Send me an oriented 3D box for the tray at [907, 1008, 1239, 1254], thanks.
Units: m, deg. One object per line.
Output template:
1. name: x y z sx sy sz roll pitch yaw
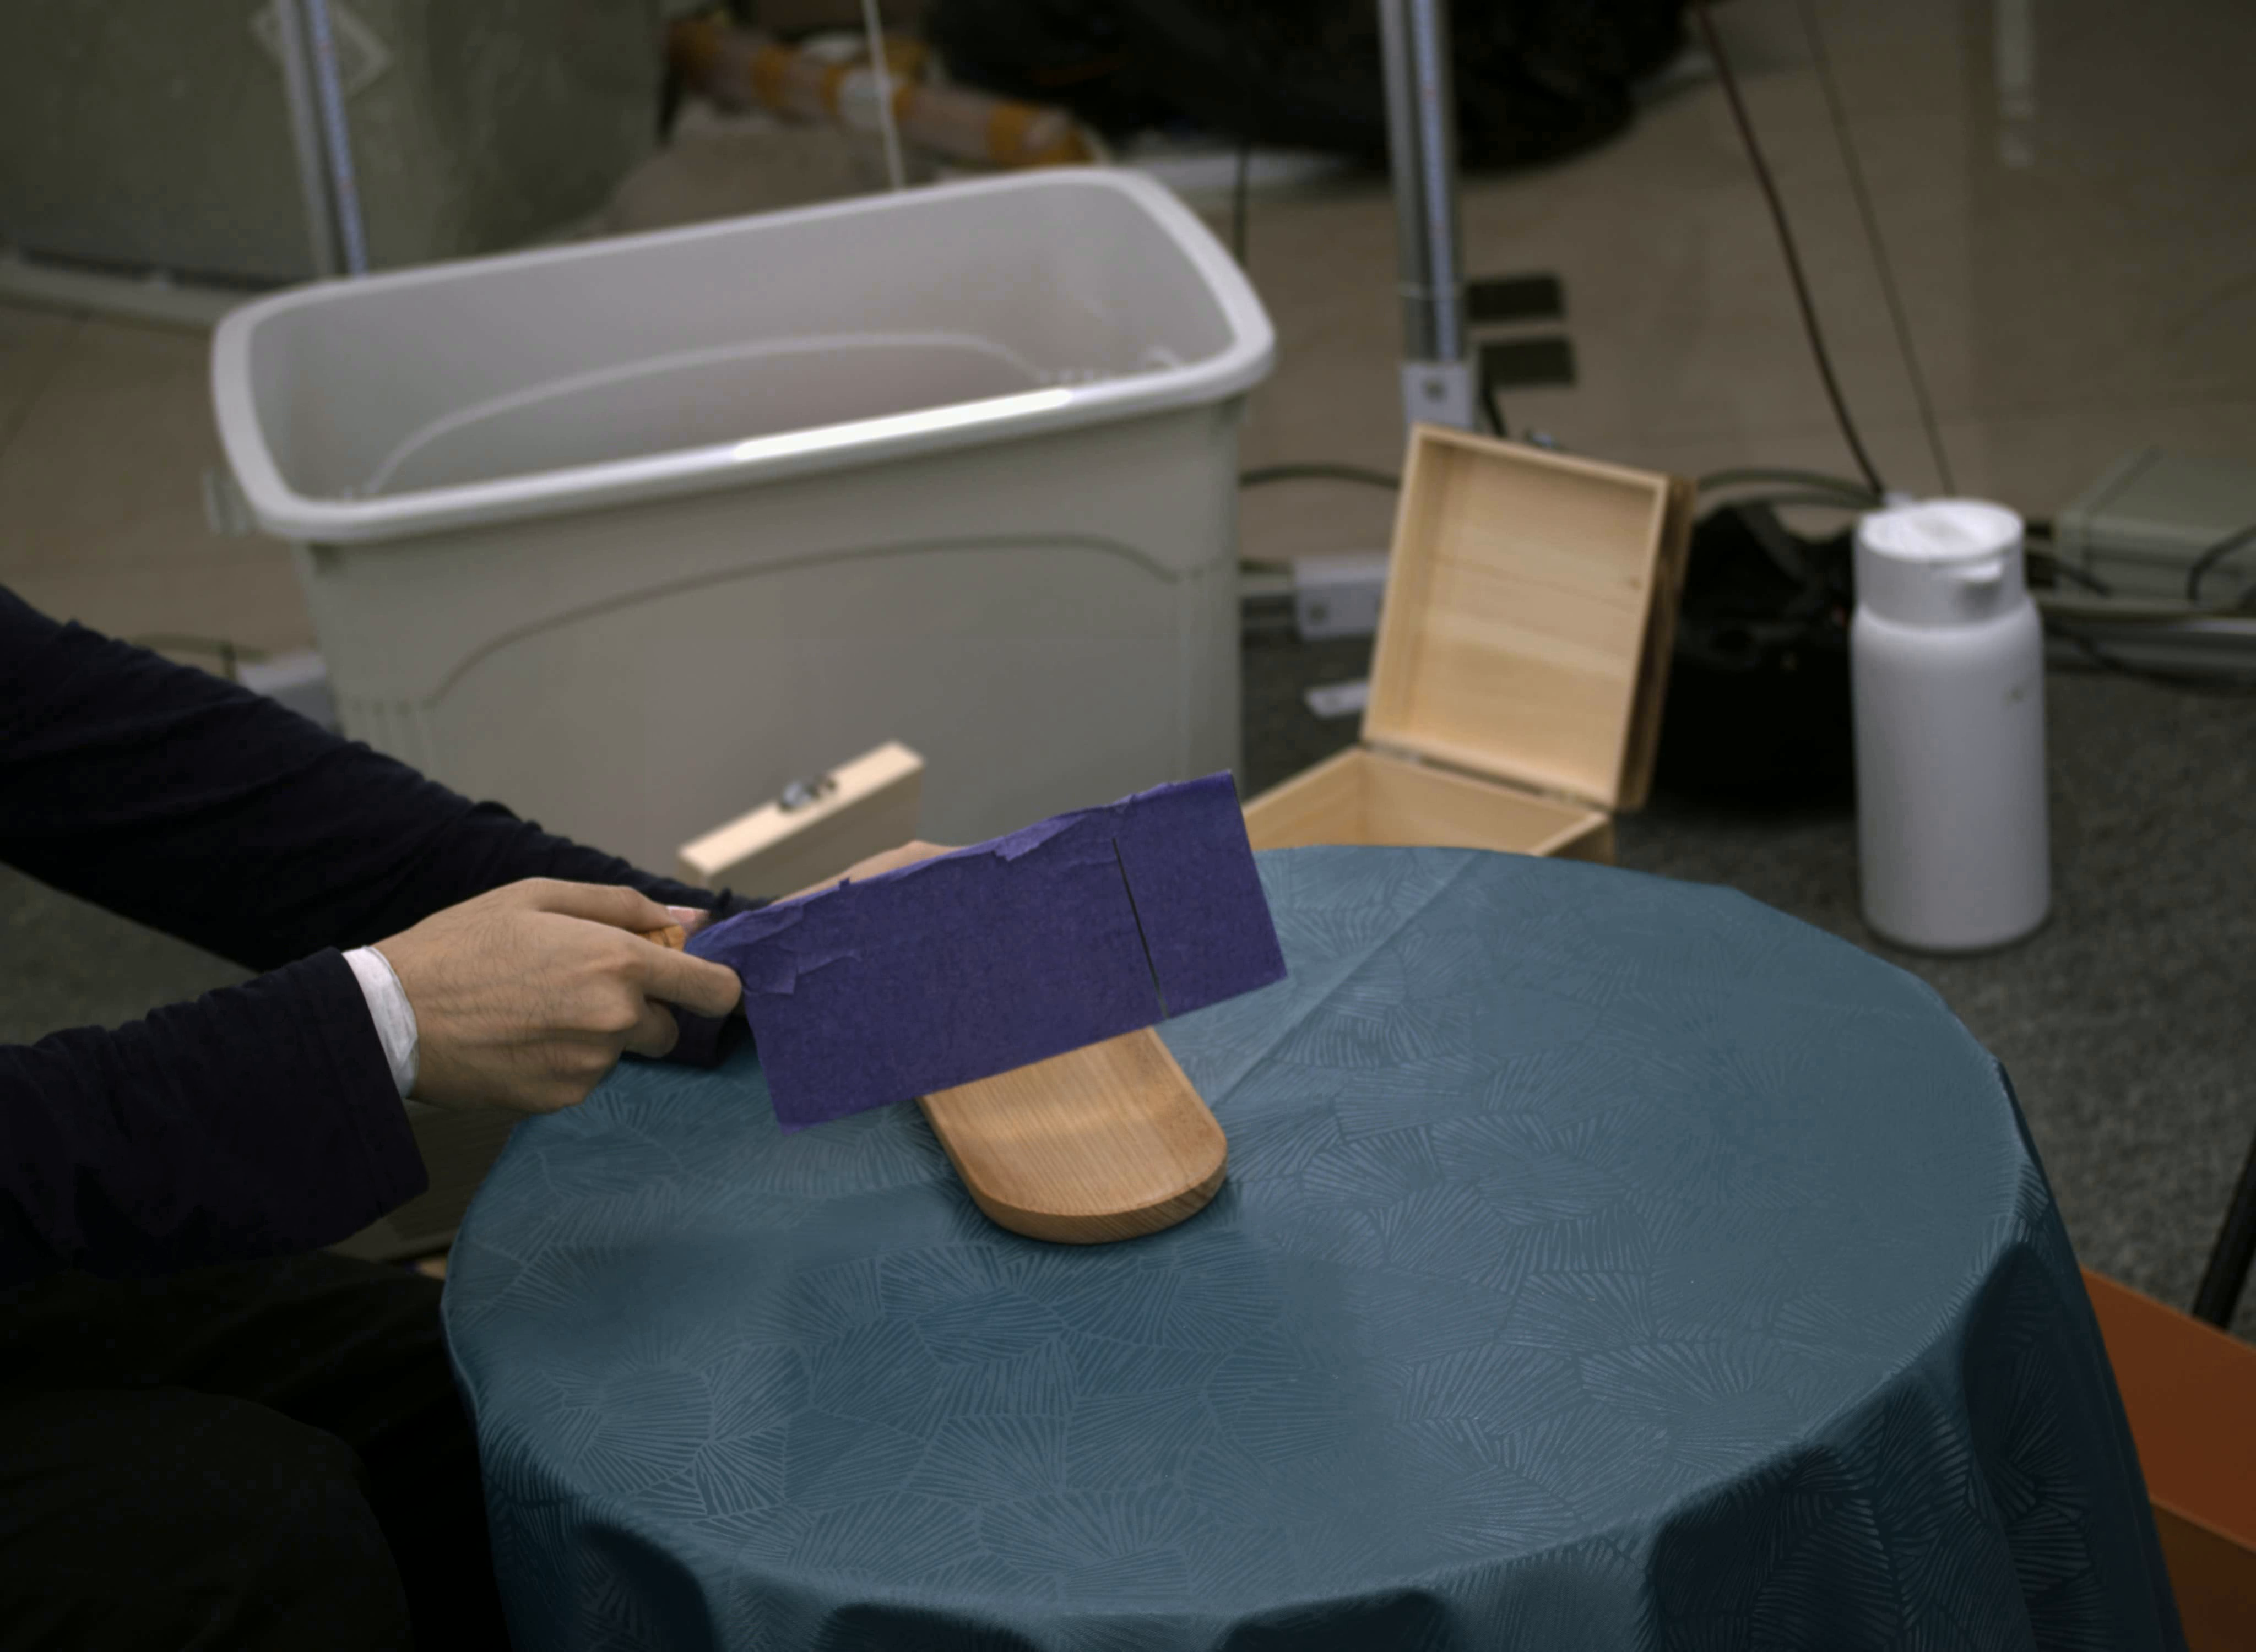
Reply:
1. tray: -0.028 0.107 2.209 0.101 0.020 0.228 -13 28 -13

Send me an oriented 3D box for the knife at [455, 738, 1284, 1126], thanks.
1. knife: -0.094 0.060 2.157 0.314 0.105 0.032 -17 17 -6
